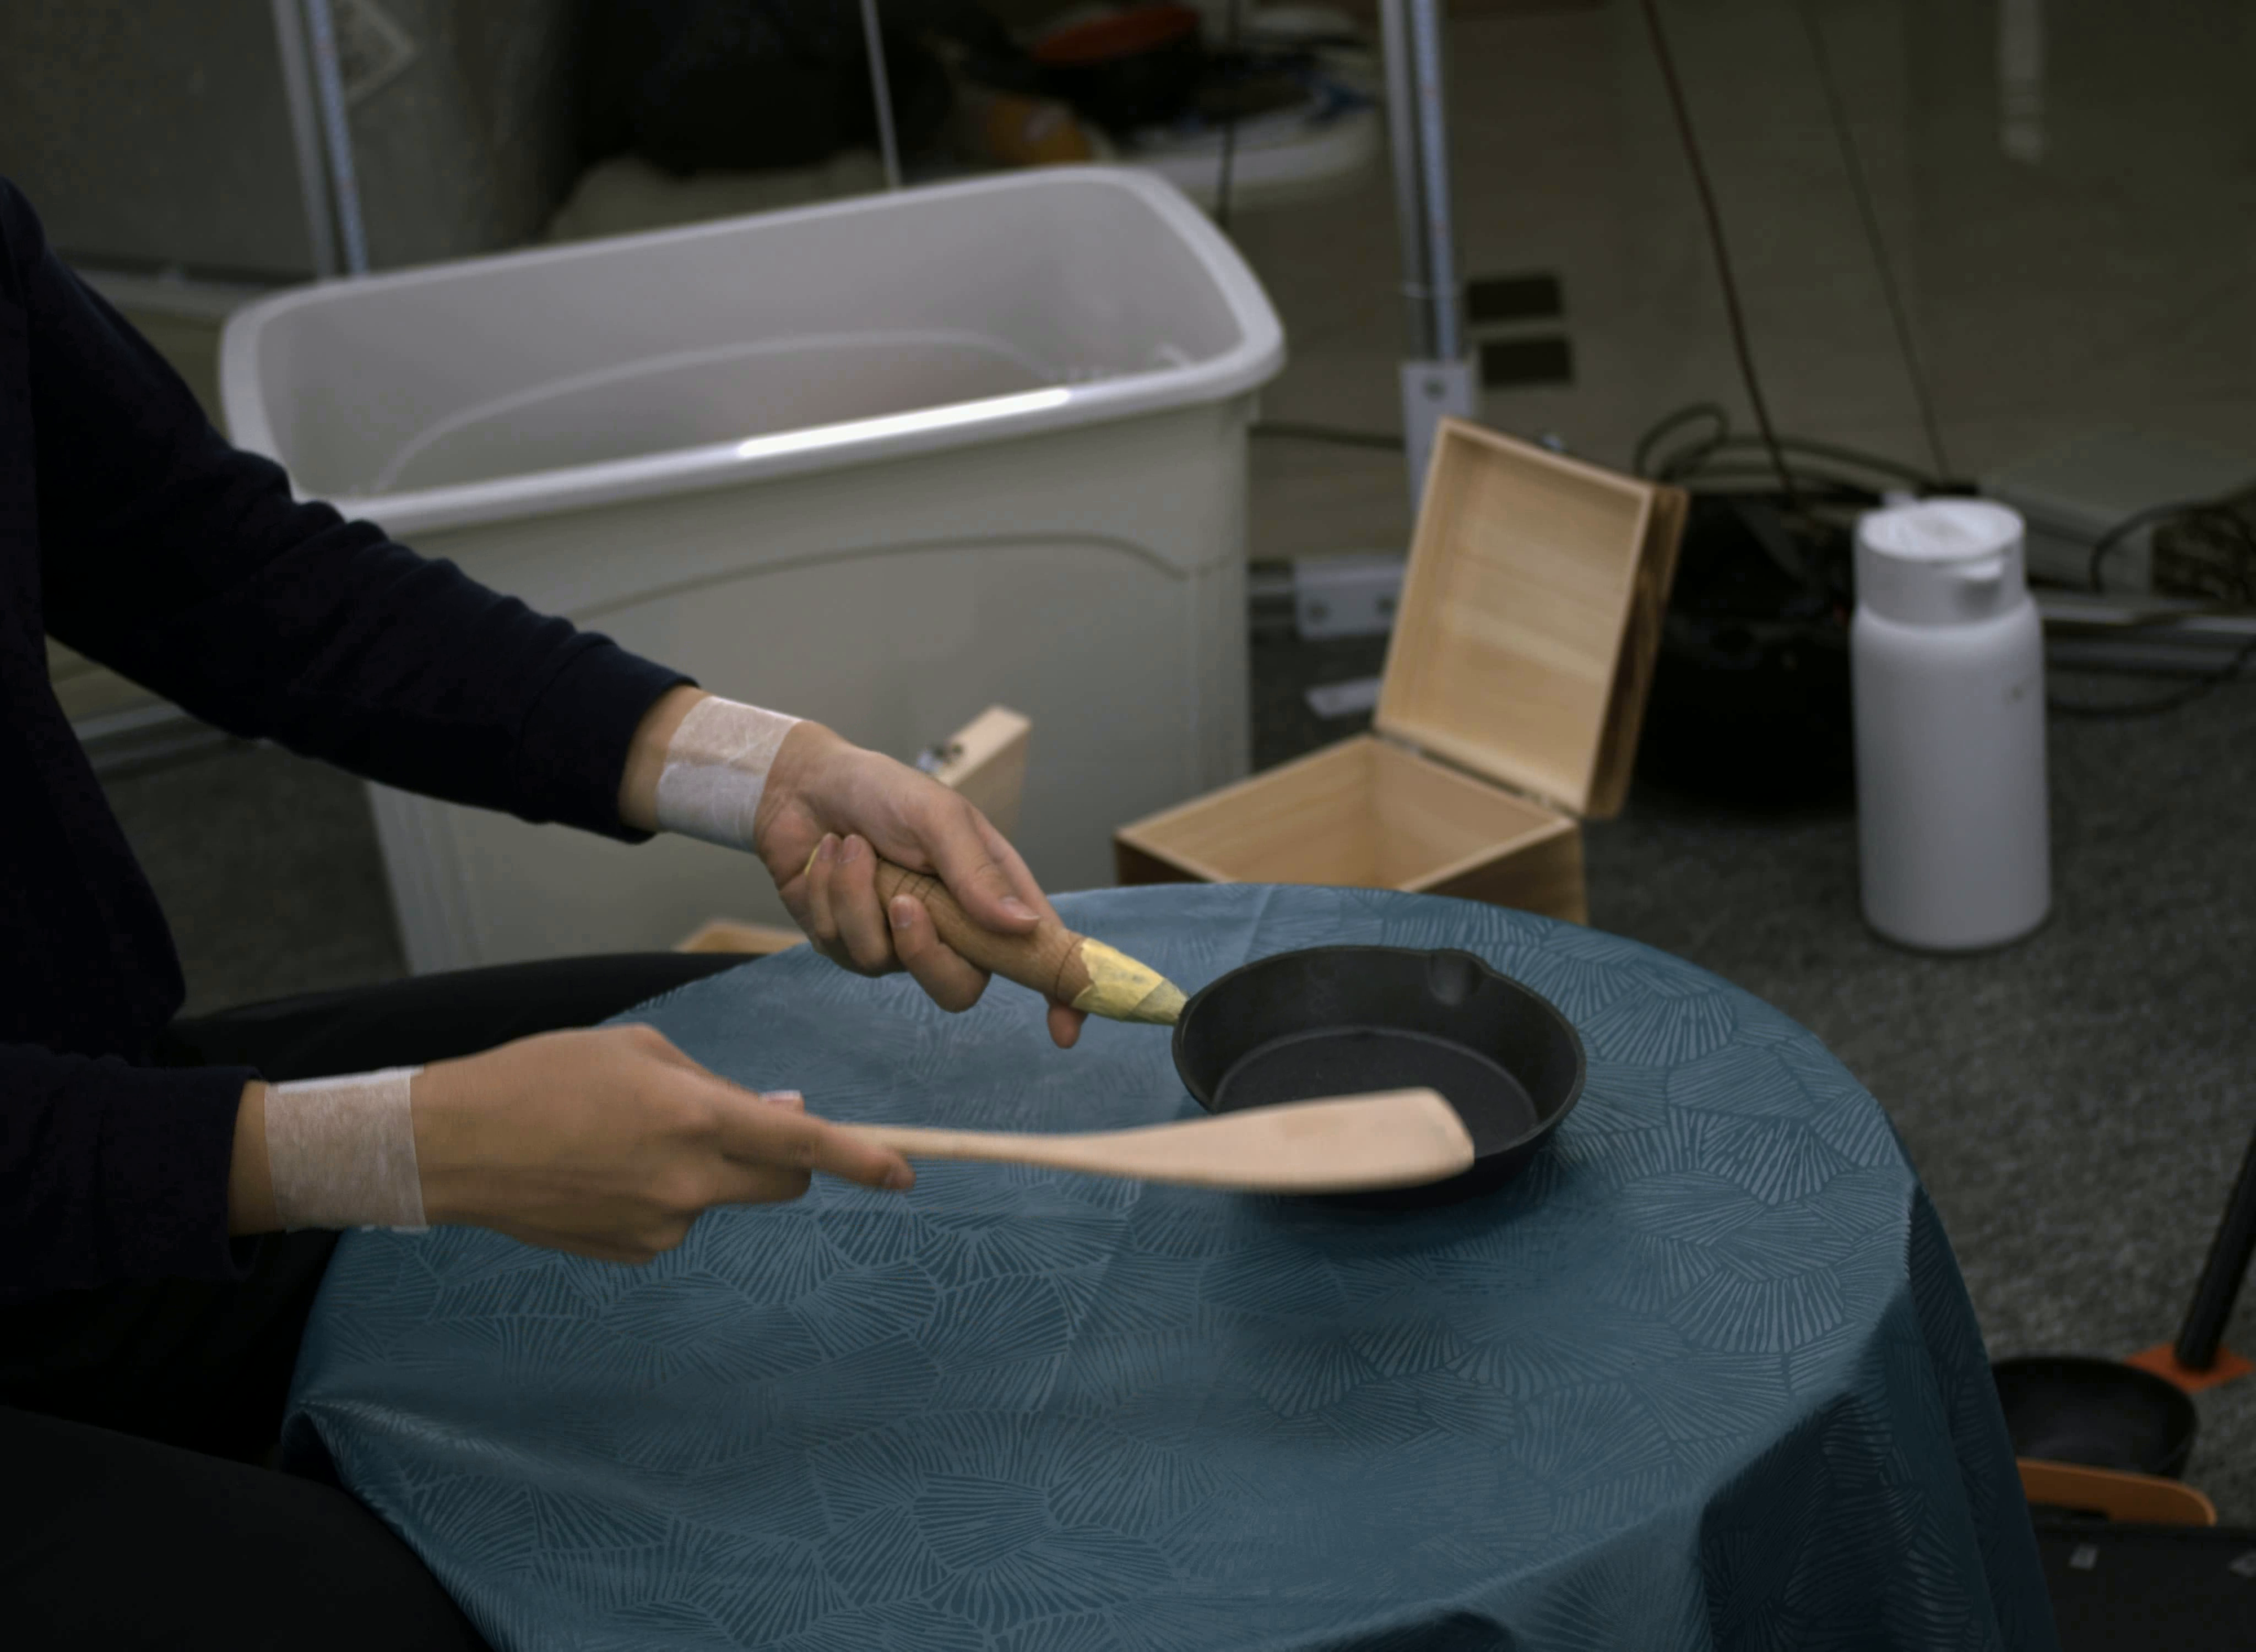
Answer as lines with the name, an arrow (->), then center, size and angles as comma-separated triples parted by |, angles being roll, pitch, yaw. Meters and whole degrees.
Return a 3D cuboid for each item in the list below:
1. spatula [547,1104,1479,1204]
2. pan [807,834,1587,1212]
spatula -> -0.041, 0.113, 1.995 | 0.327, 0.017, 0.079 | 1, 19, 1
pan -> 0.020, 0.069, 2.177 | 0.322, 0.050, 0.167 | 18, 33, 22
